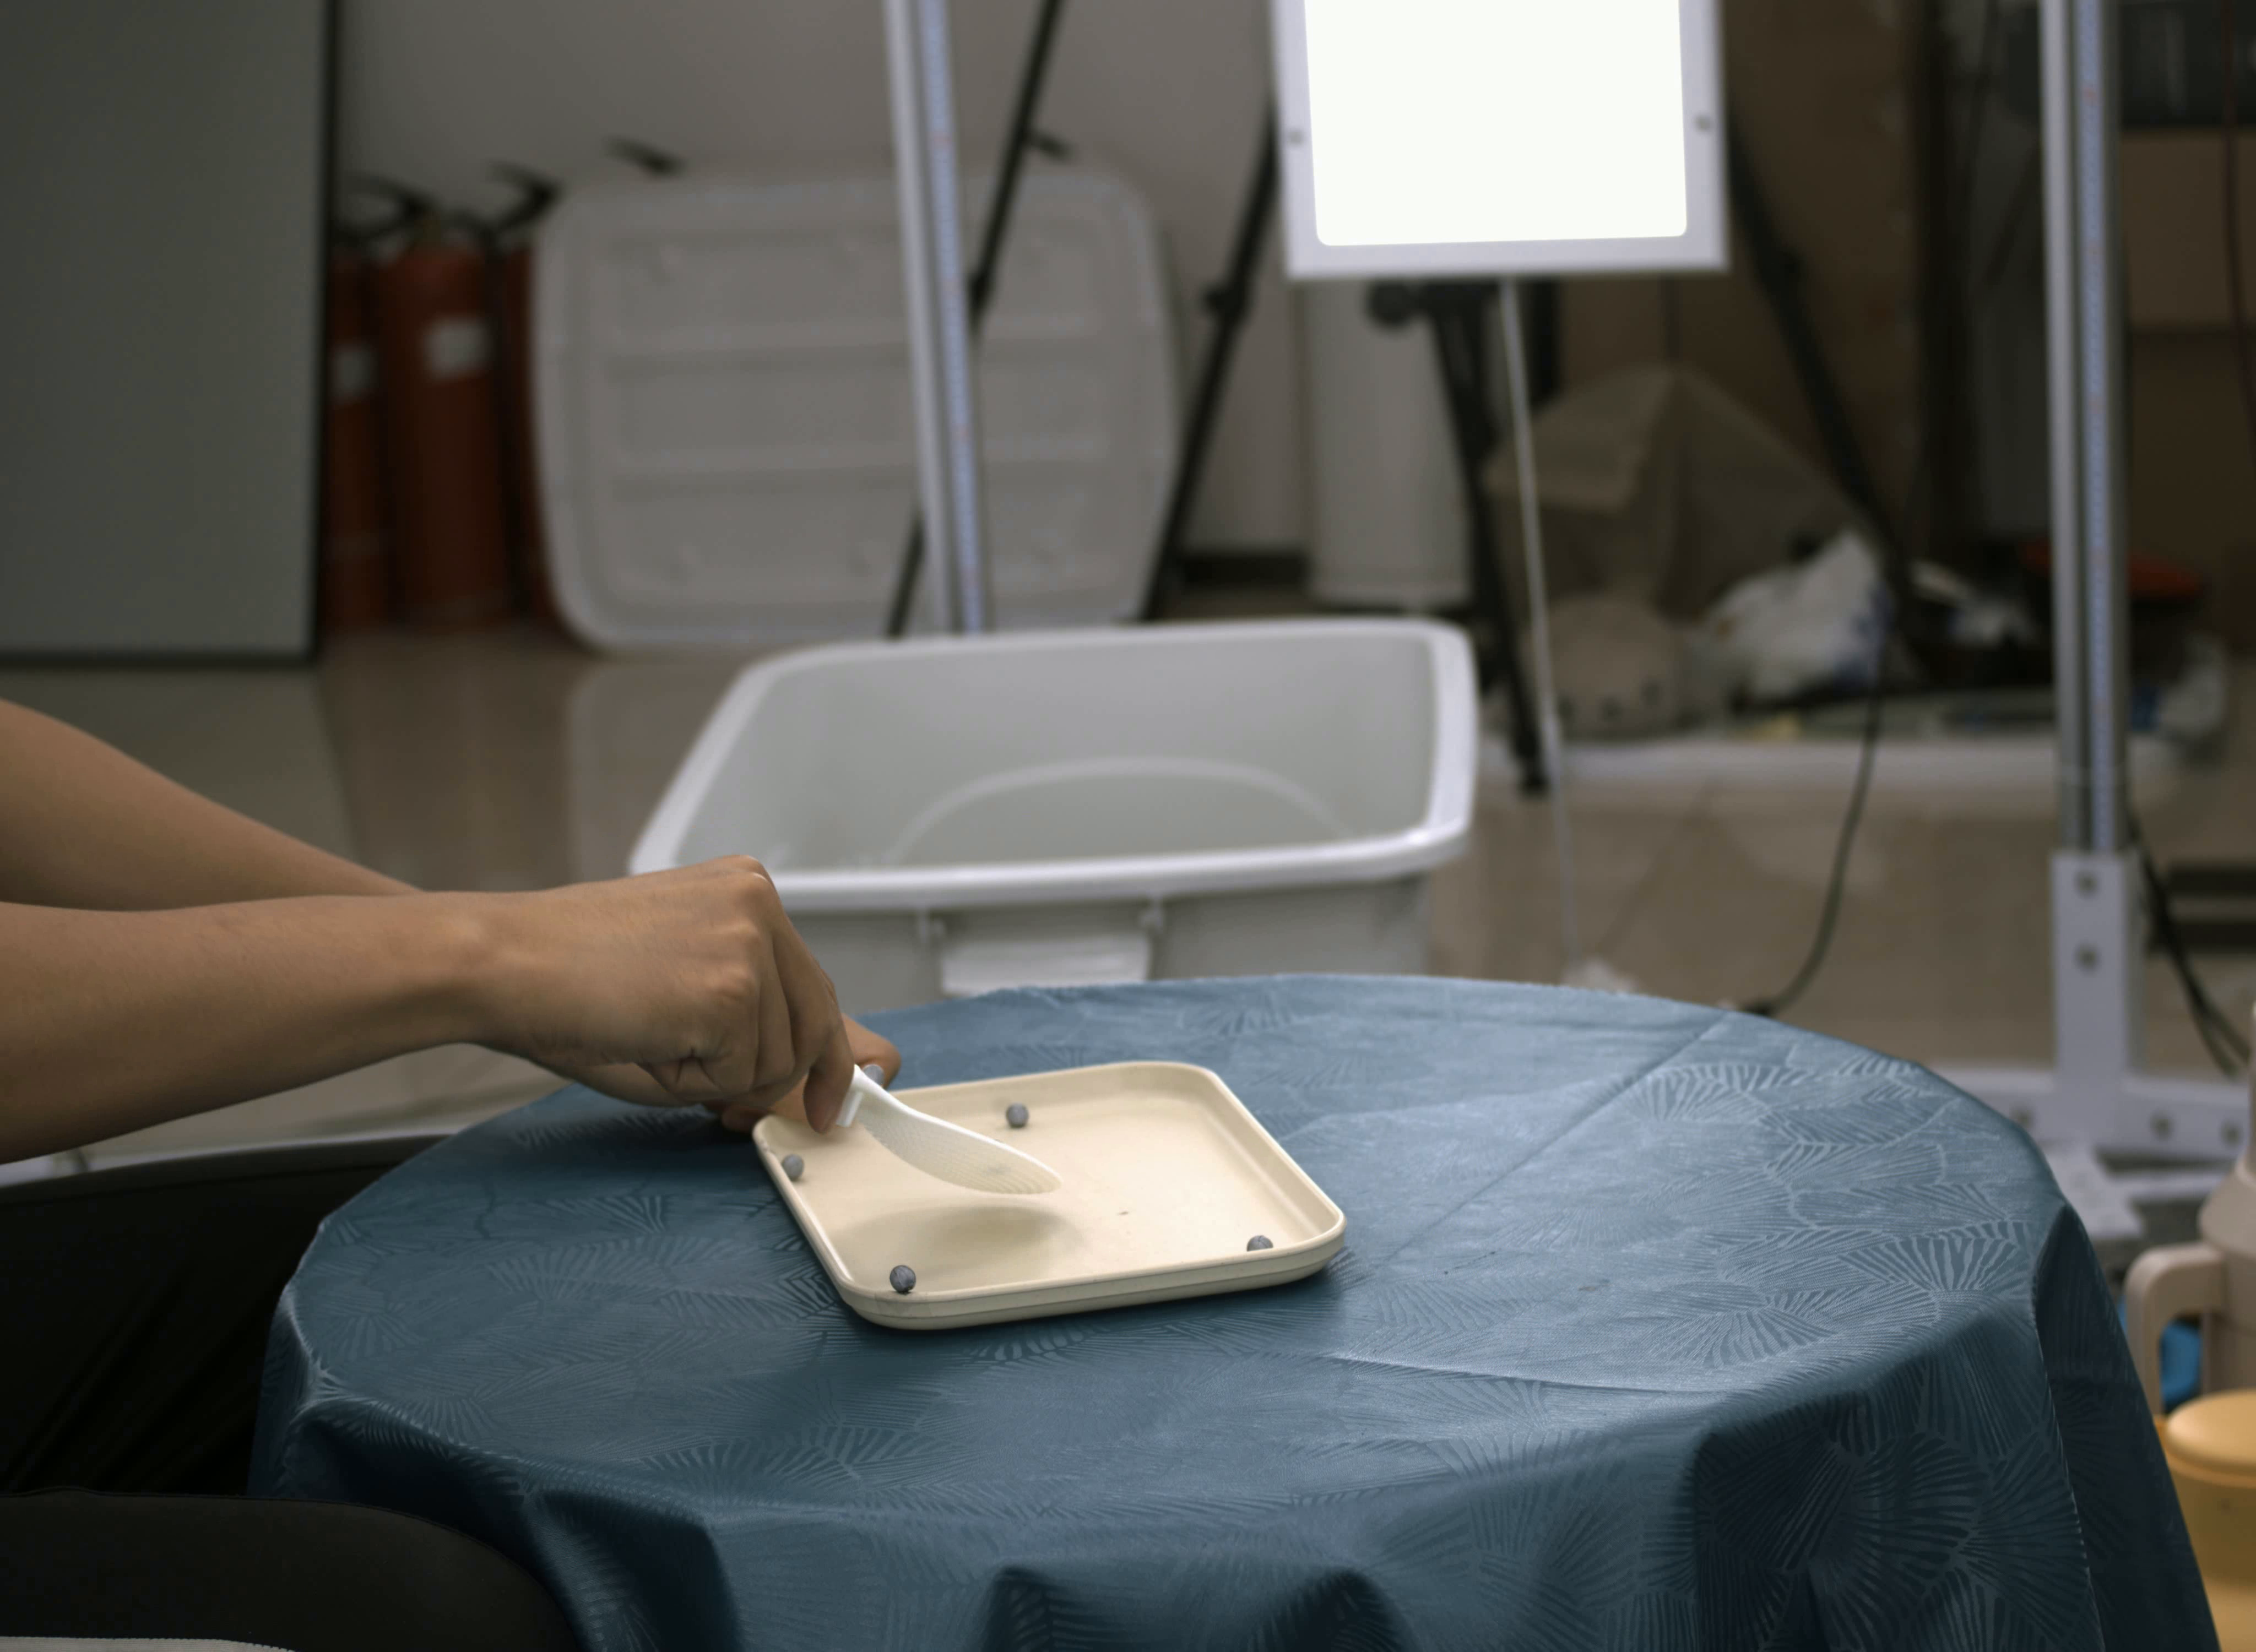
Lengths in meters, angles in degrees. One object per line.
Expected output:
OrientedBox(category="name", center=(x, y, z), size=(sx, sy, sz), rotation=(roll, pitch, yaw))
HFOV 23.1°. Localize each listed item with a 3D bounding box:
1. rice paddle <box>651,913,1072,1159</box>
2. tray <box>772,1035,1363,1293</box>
OrientedBox(category="rice paddle", center=(-0.085, 0.075, 1.816), size=(0.070, 0.029, 0.201), rotation=(15, -11, 38))
OrientedBox(category="tray", center=(-0.024, 0.115, 1.890), size=(0.169, 0.017, 0.241), rotation=(-7, 13, -10))
